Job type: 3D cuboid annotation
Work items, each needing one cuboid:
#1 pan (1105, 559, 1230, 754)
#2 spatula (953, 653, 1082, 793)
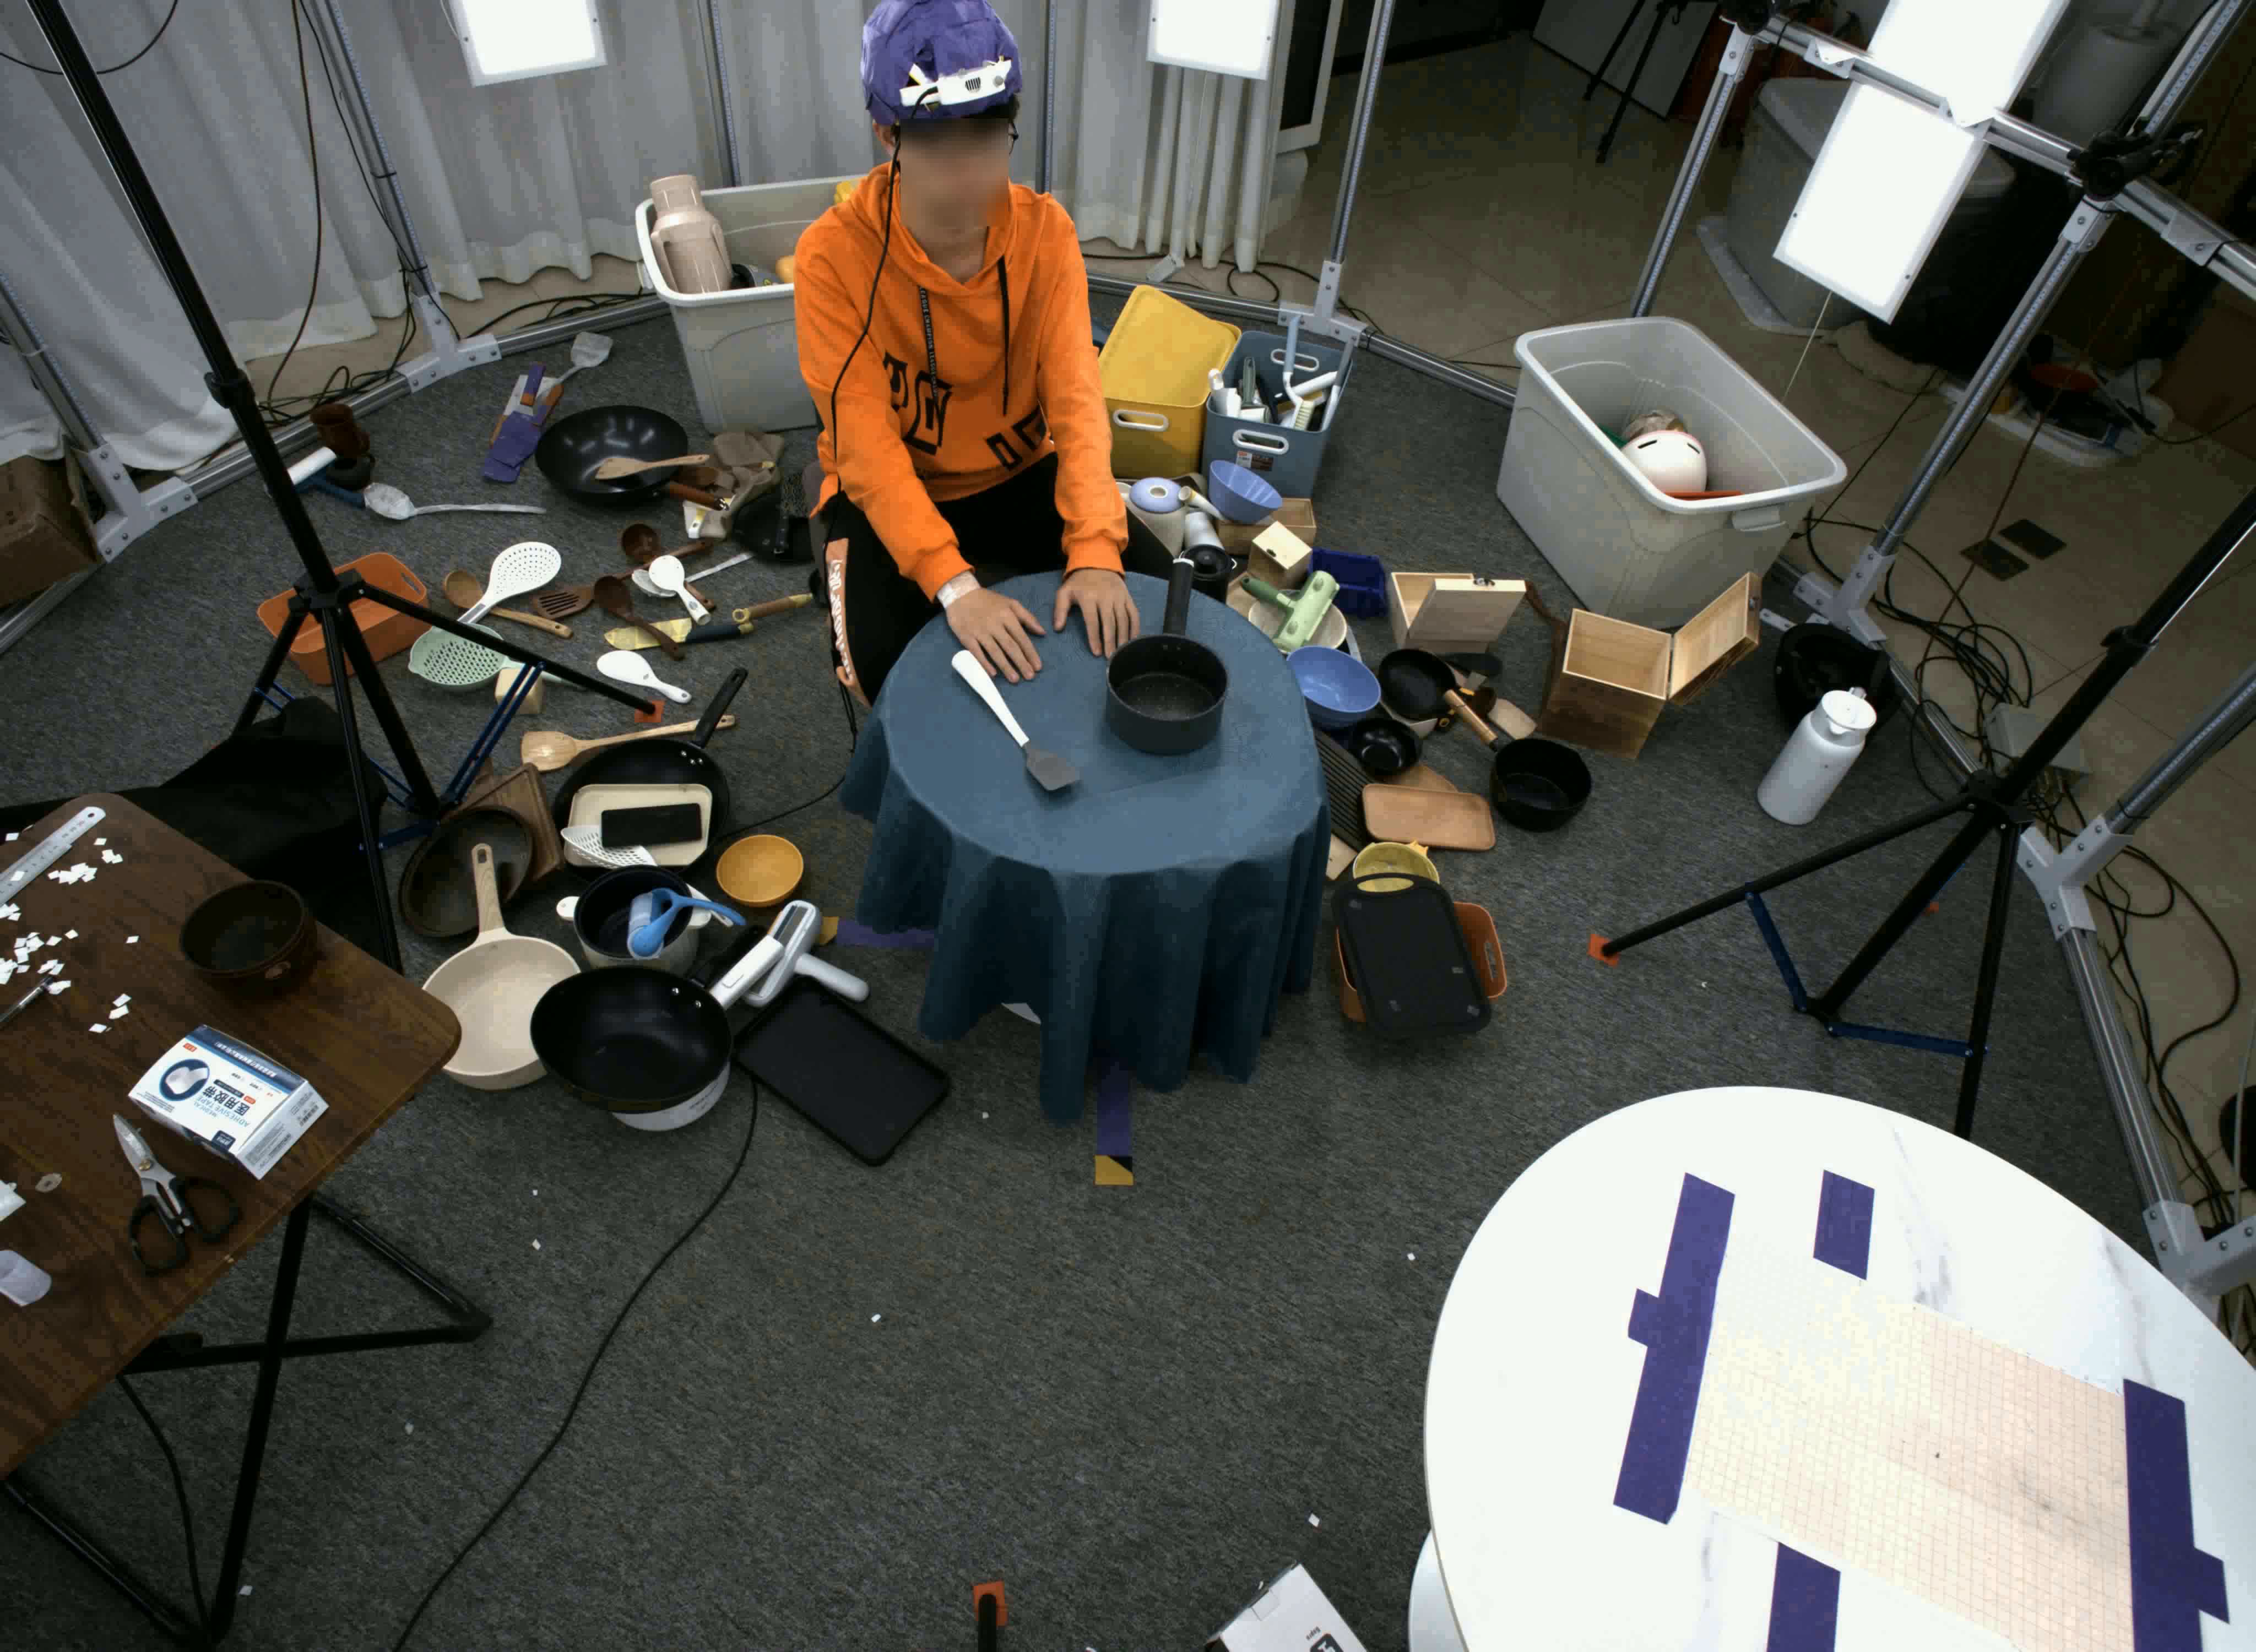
[{"bbox_3d":[0.065,-0.245,1.831,0.172,0.084,0.336,9,51,3],"label":"pan"},{"bbox_3d":[-0.157,-0.140,1.760,0.059,0.031,0.293,-22,53,-25],"label":"spatula"}]
